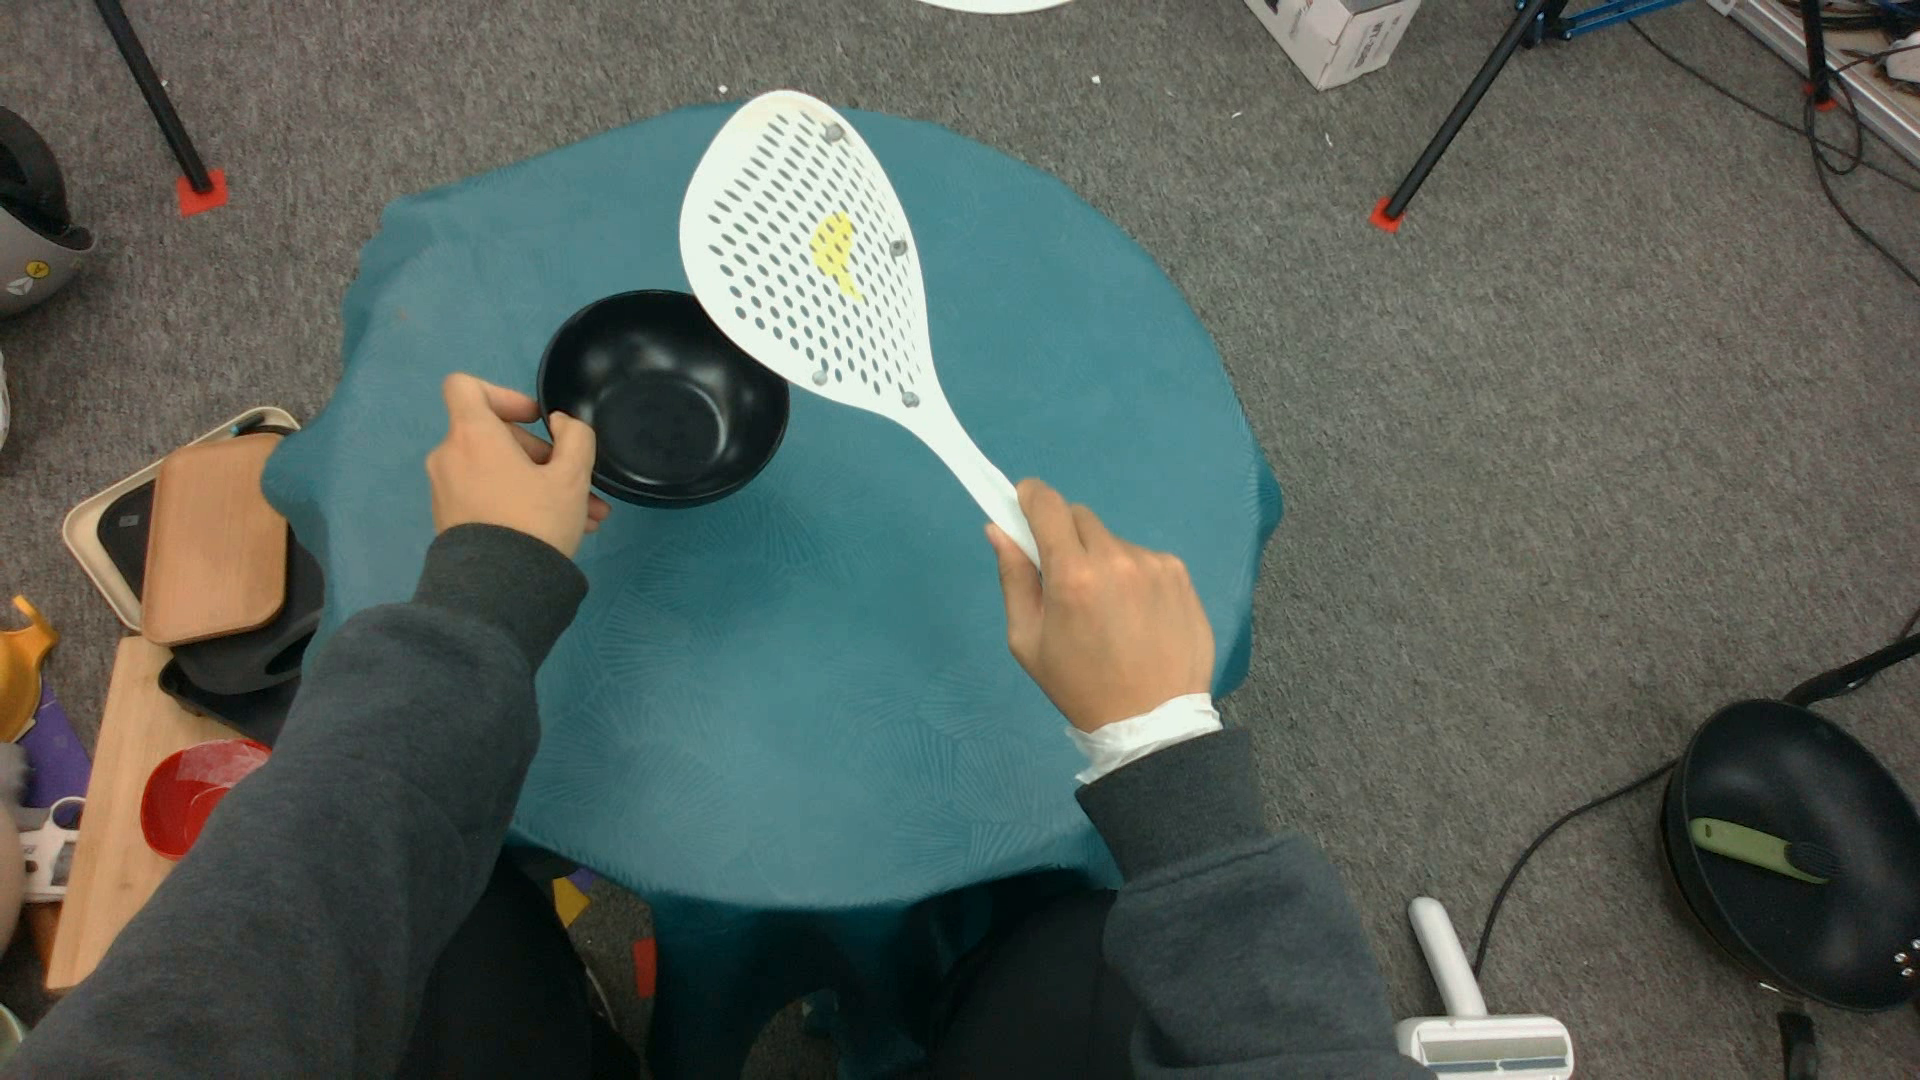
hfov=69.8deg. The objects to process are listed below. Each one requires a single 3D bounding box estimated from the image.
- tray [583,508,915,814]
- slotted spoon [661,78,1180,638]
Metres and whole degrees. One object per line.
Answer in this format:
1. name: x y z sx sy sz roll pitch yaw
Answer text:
1. tray: -0.214 0.117 1.401 0.300 0.027 0.192 39 63 11
2. slotted spoon: -0.020 -0.079 0.686 0.348 0.136 0.050 51 29 13
